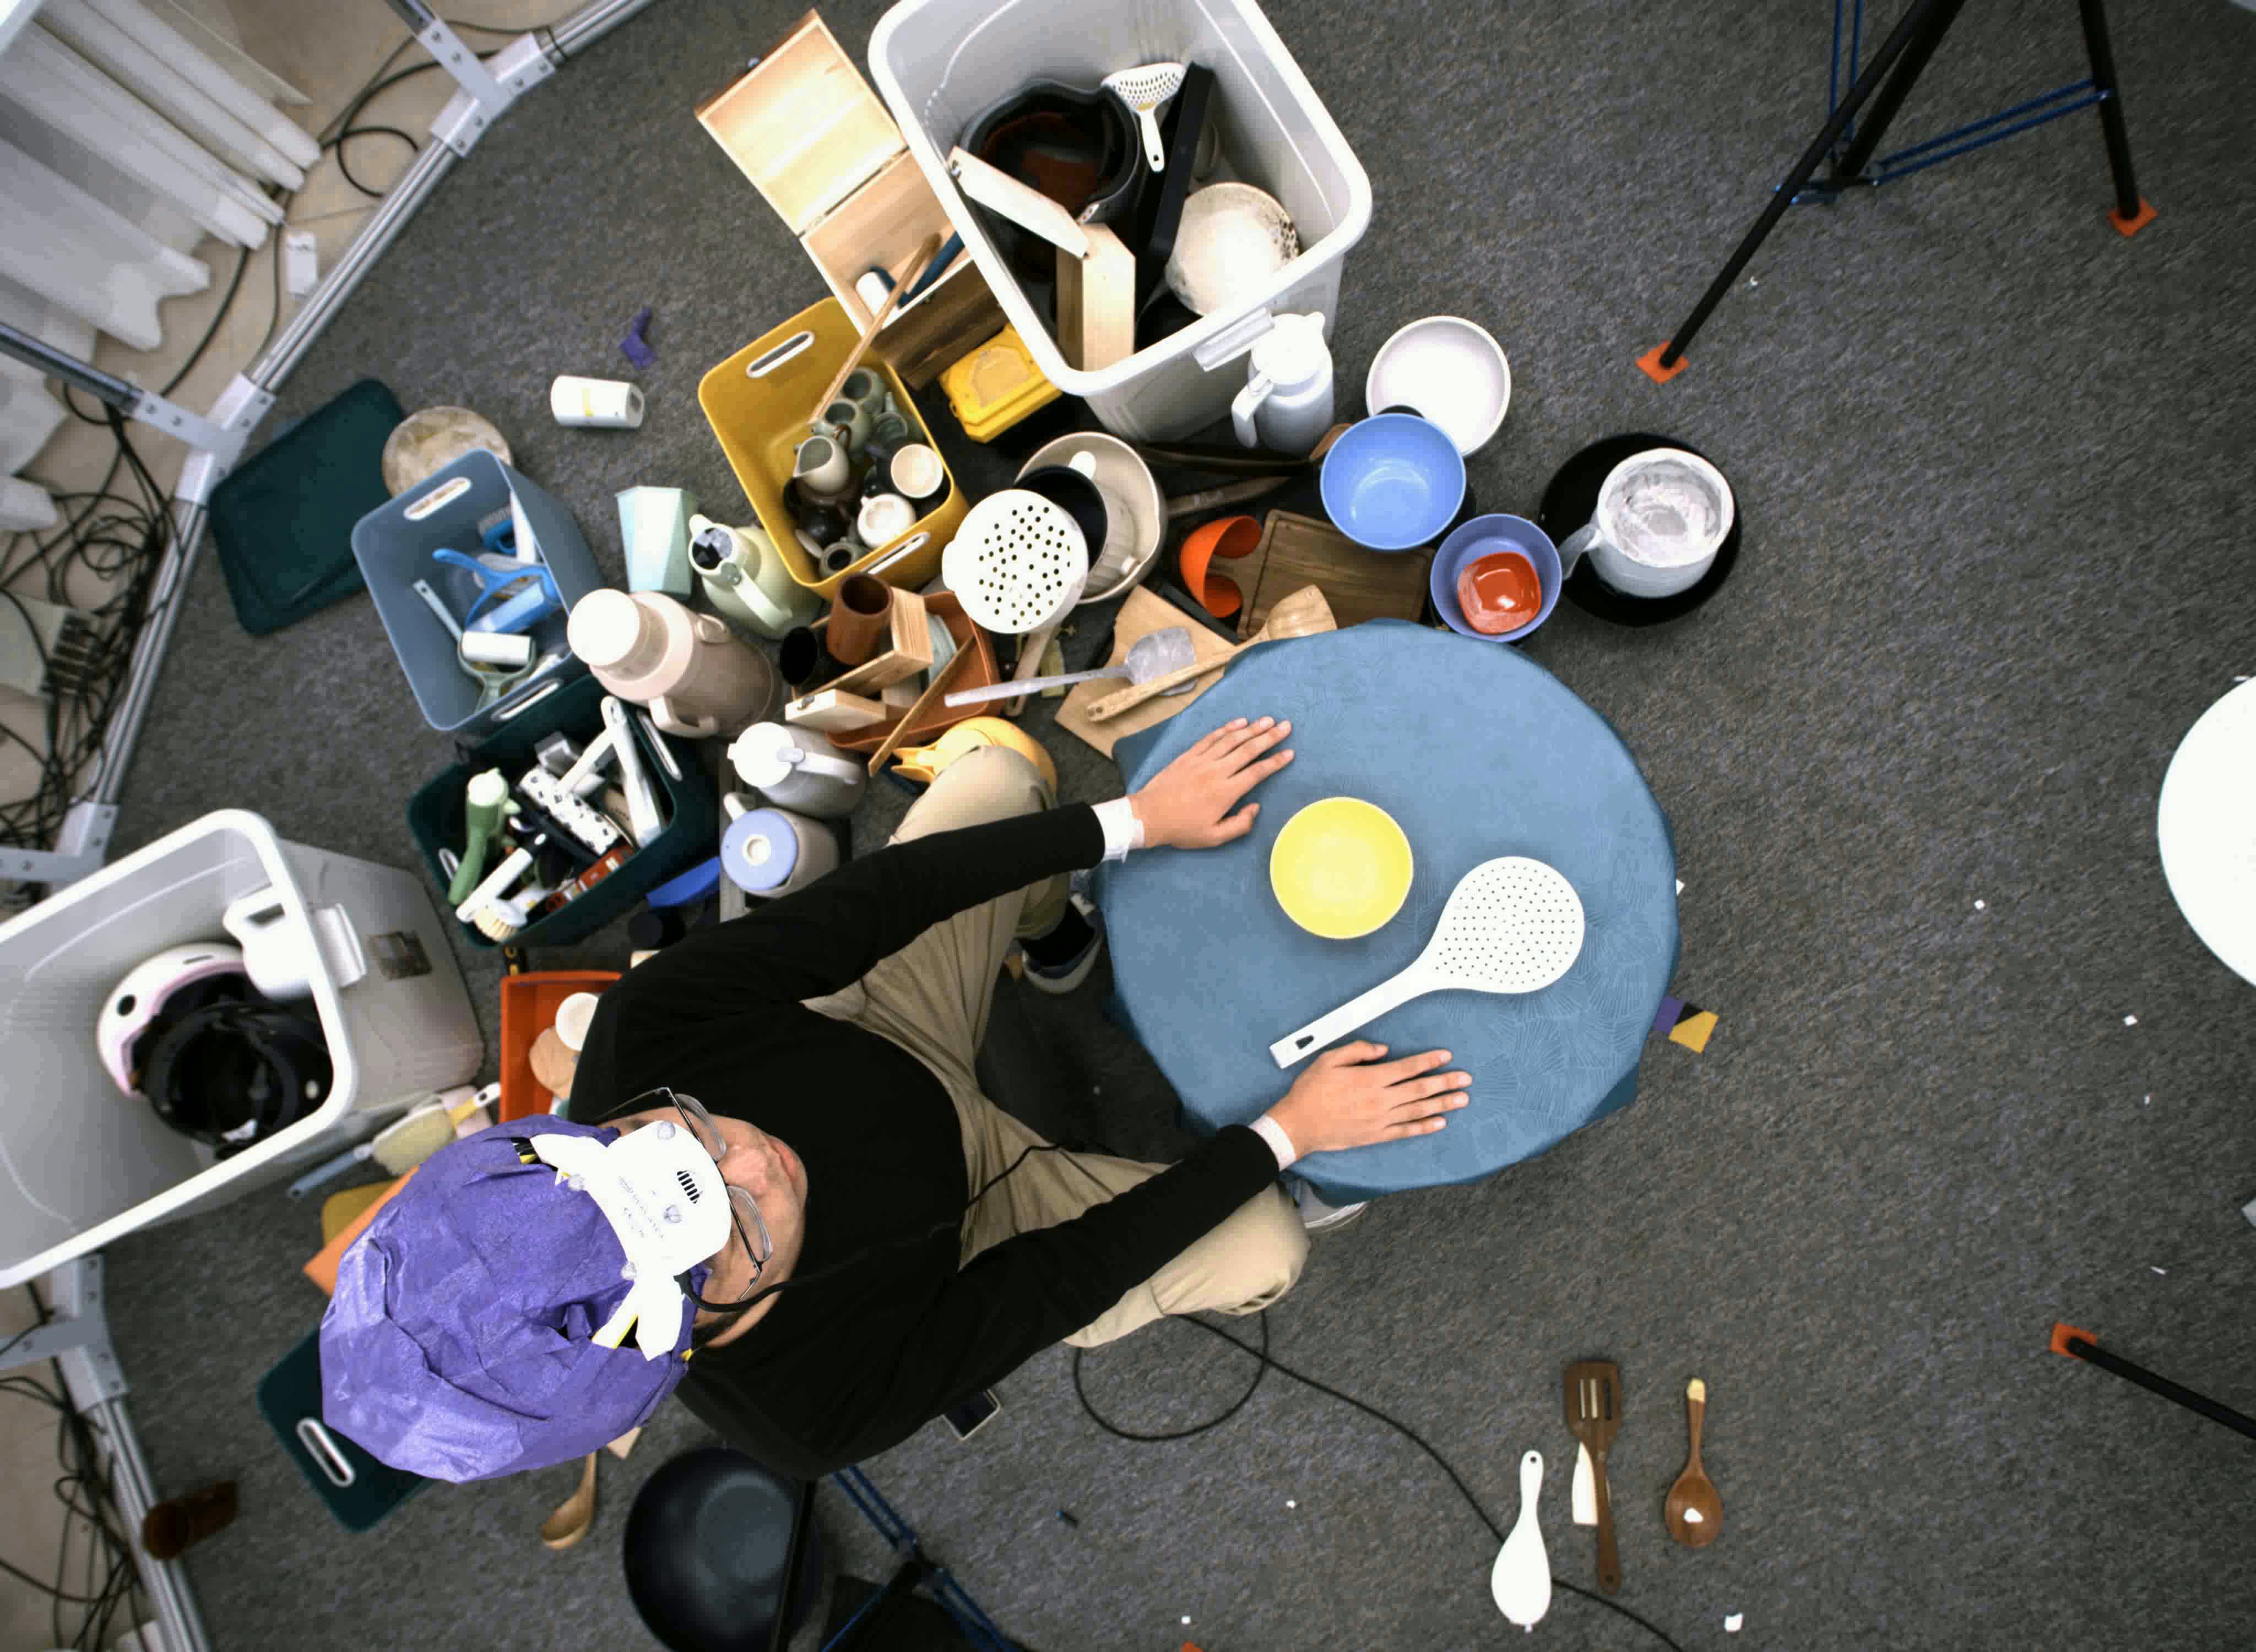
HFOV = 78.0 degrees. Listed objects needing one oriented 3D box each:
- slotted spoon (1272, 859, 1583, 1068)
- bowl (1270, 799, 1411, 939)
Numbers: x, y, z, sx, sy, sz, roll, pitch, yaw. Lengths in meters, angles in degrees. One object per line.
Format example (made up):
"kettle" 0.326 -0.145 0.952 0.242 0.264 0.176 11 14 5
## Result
"slotted spoon" 0.303 0.155 1.426 0.352 0.046 0.135 -31 81 8
"bowl" 0.222 0.047 1.442 0.146 0.060 0.144 -1 84 10
